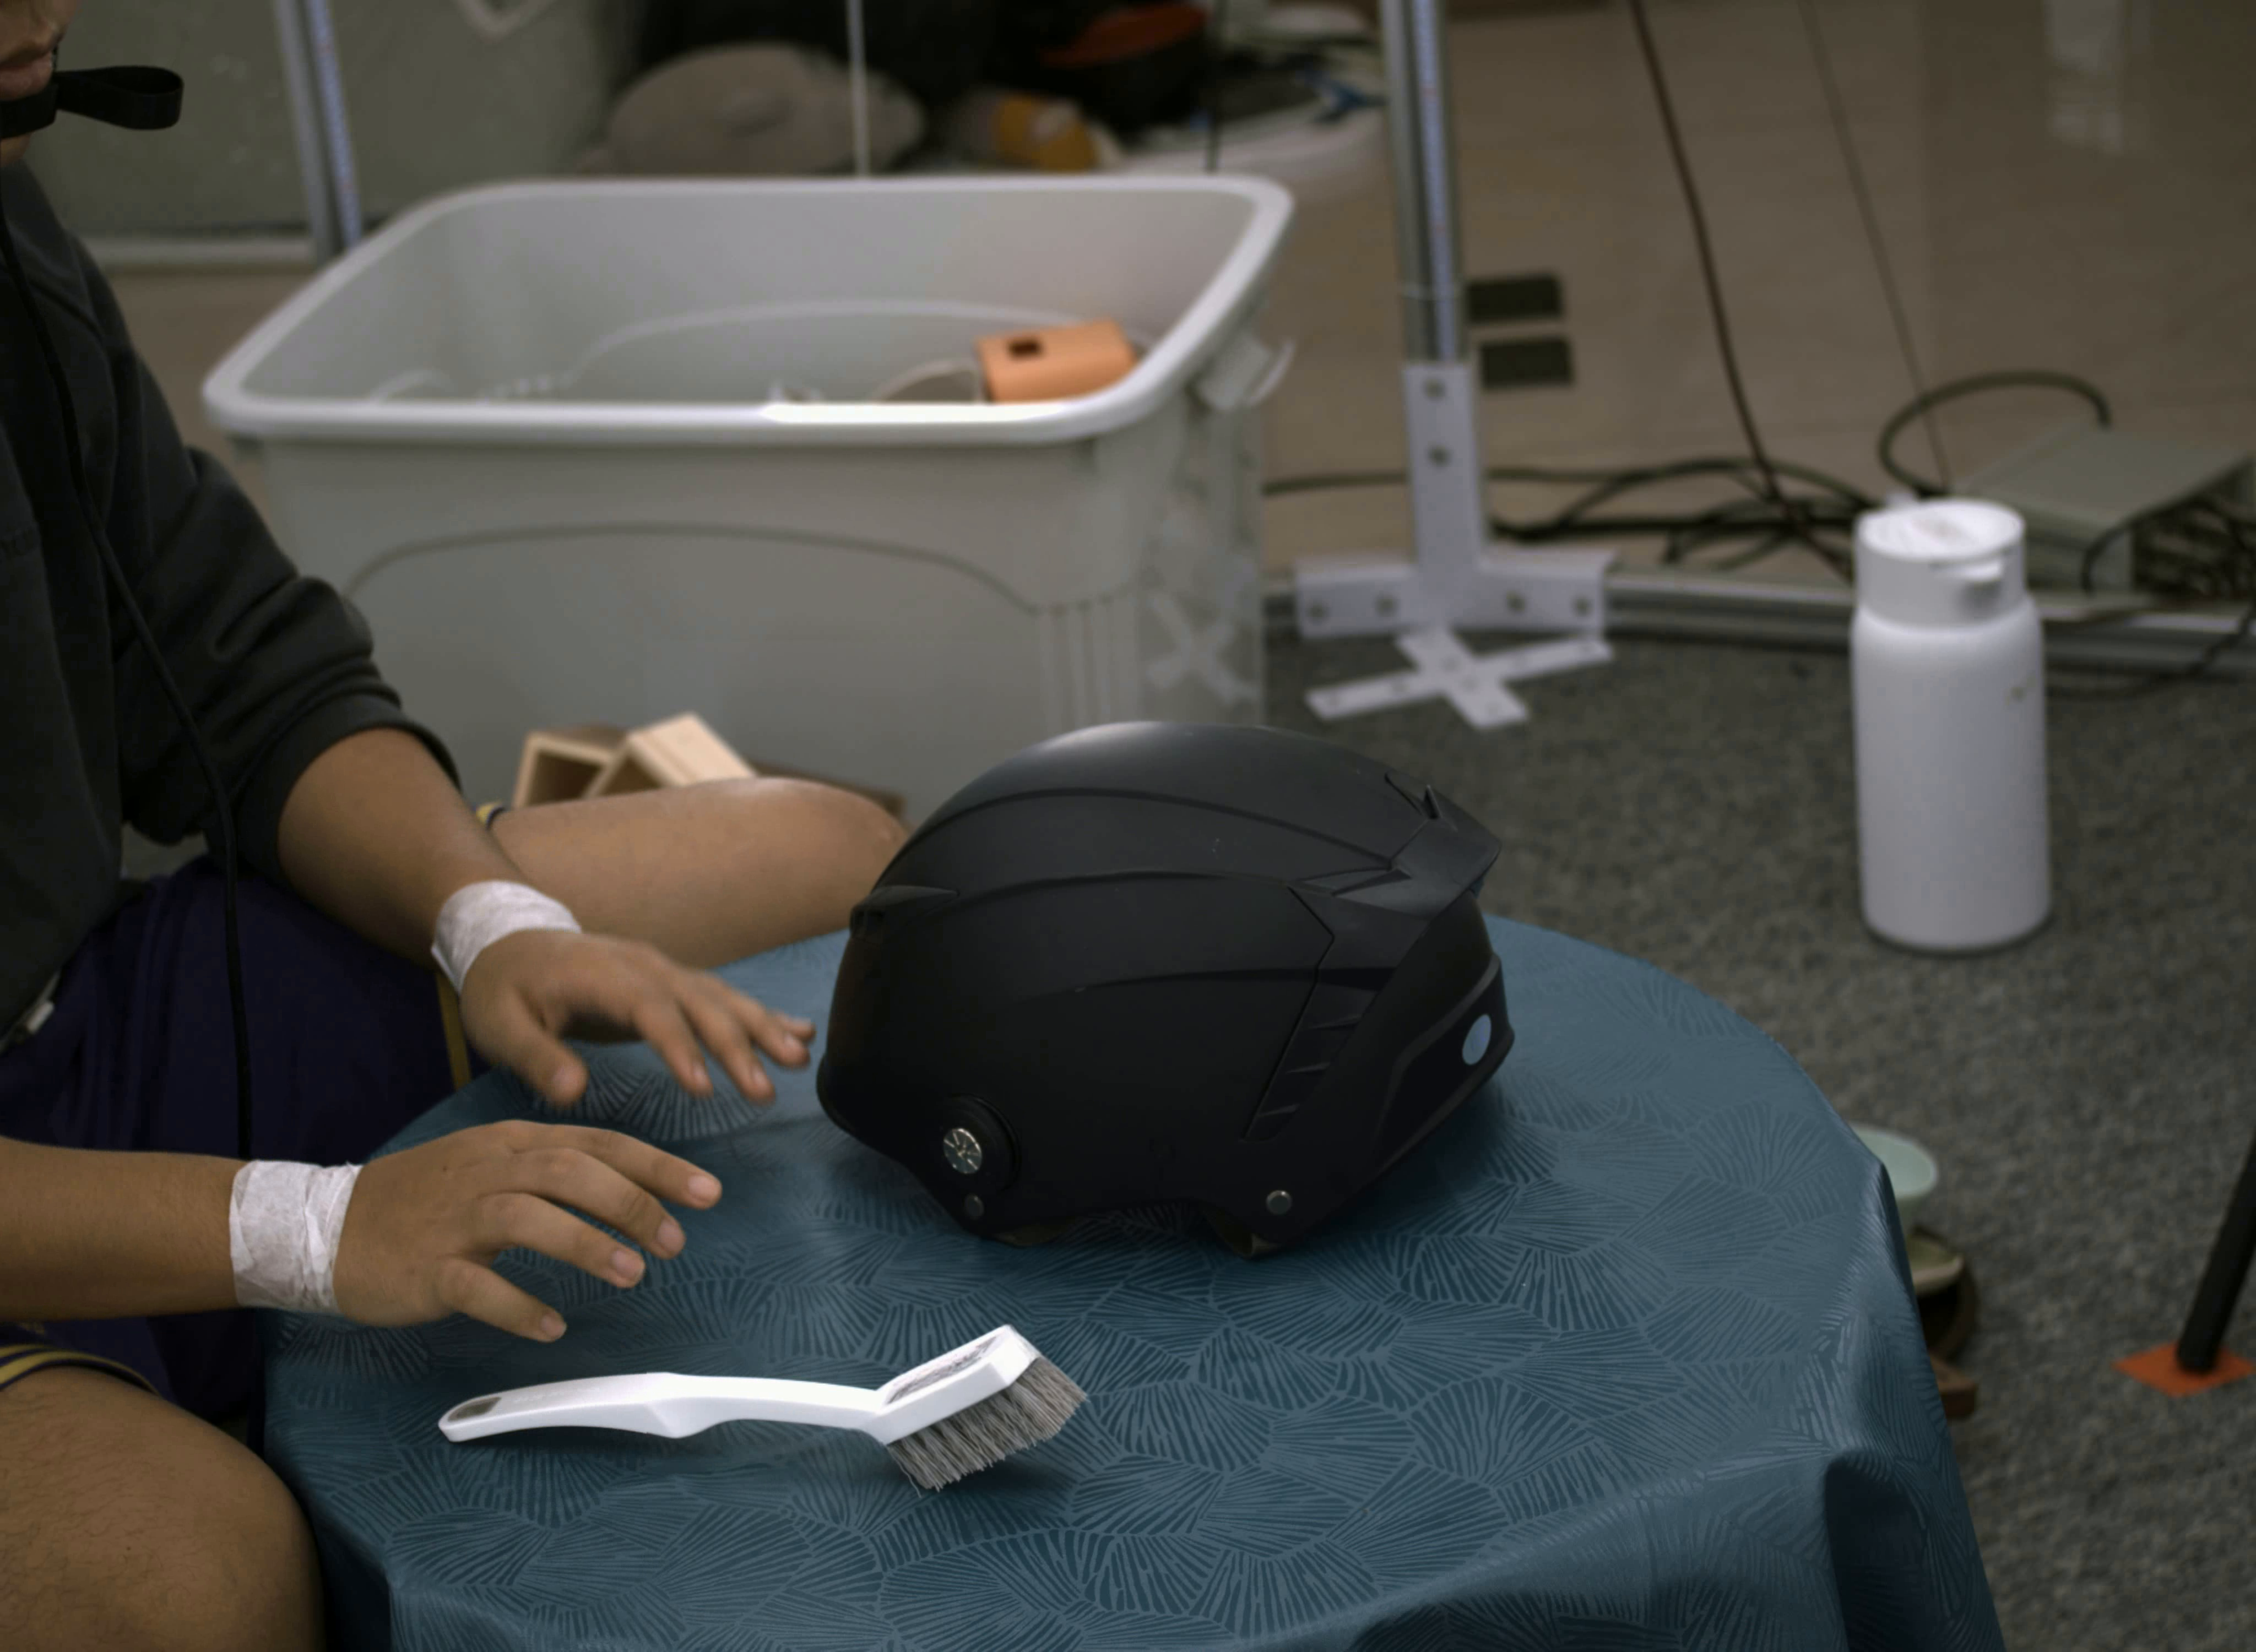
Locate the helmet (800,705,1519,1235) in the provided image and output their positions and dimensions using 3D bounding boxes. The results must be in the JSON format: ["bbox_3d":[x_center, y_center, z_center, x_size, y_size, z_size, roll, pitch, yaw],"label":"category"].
[{"bbox_3d":[0.012,0.043,2.159,0.275,0.175,0.244,11,30,26],"label":"helmet"}]

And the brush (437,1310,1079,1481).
[{"bbox_3d":[-0.131,0.213,1.994,0.244,0.051,0.034,-11,21,23],"label":"brush"}]
